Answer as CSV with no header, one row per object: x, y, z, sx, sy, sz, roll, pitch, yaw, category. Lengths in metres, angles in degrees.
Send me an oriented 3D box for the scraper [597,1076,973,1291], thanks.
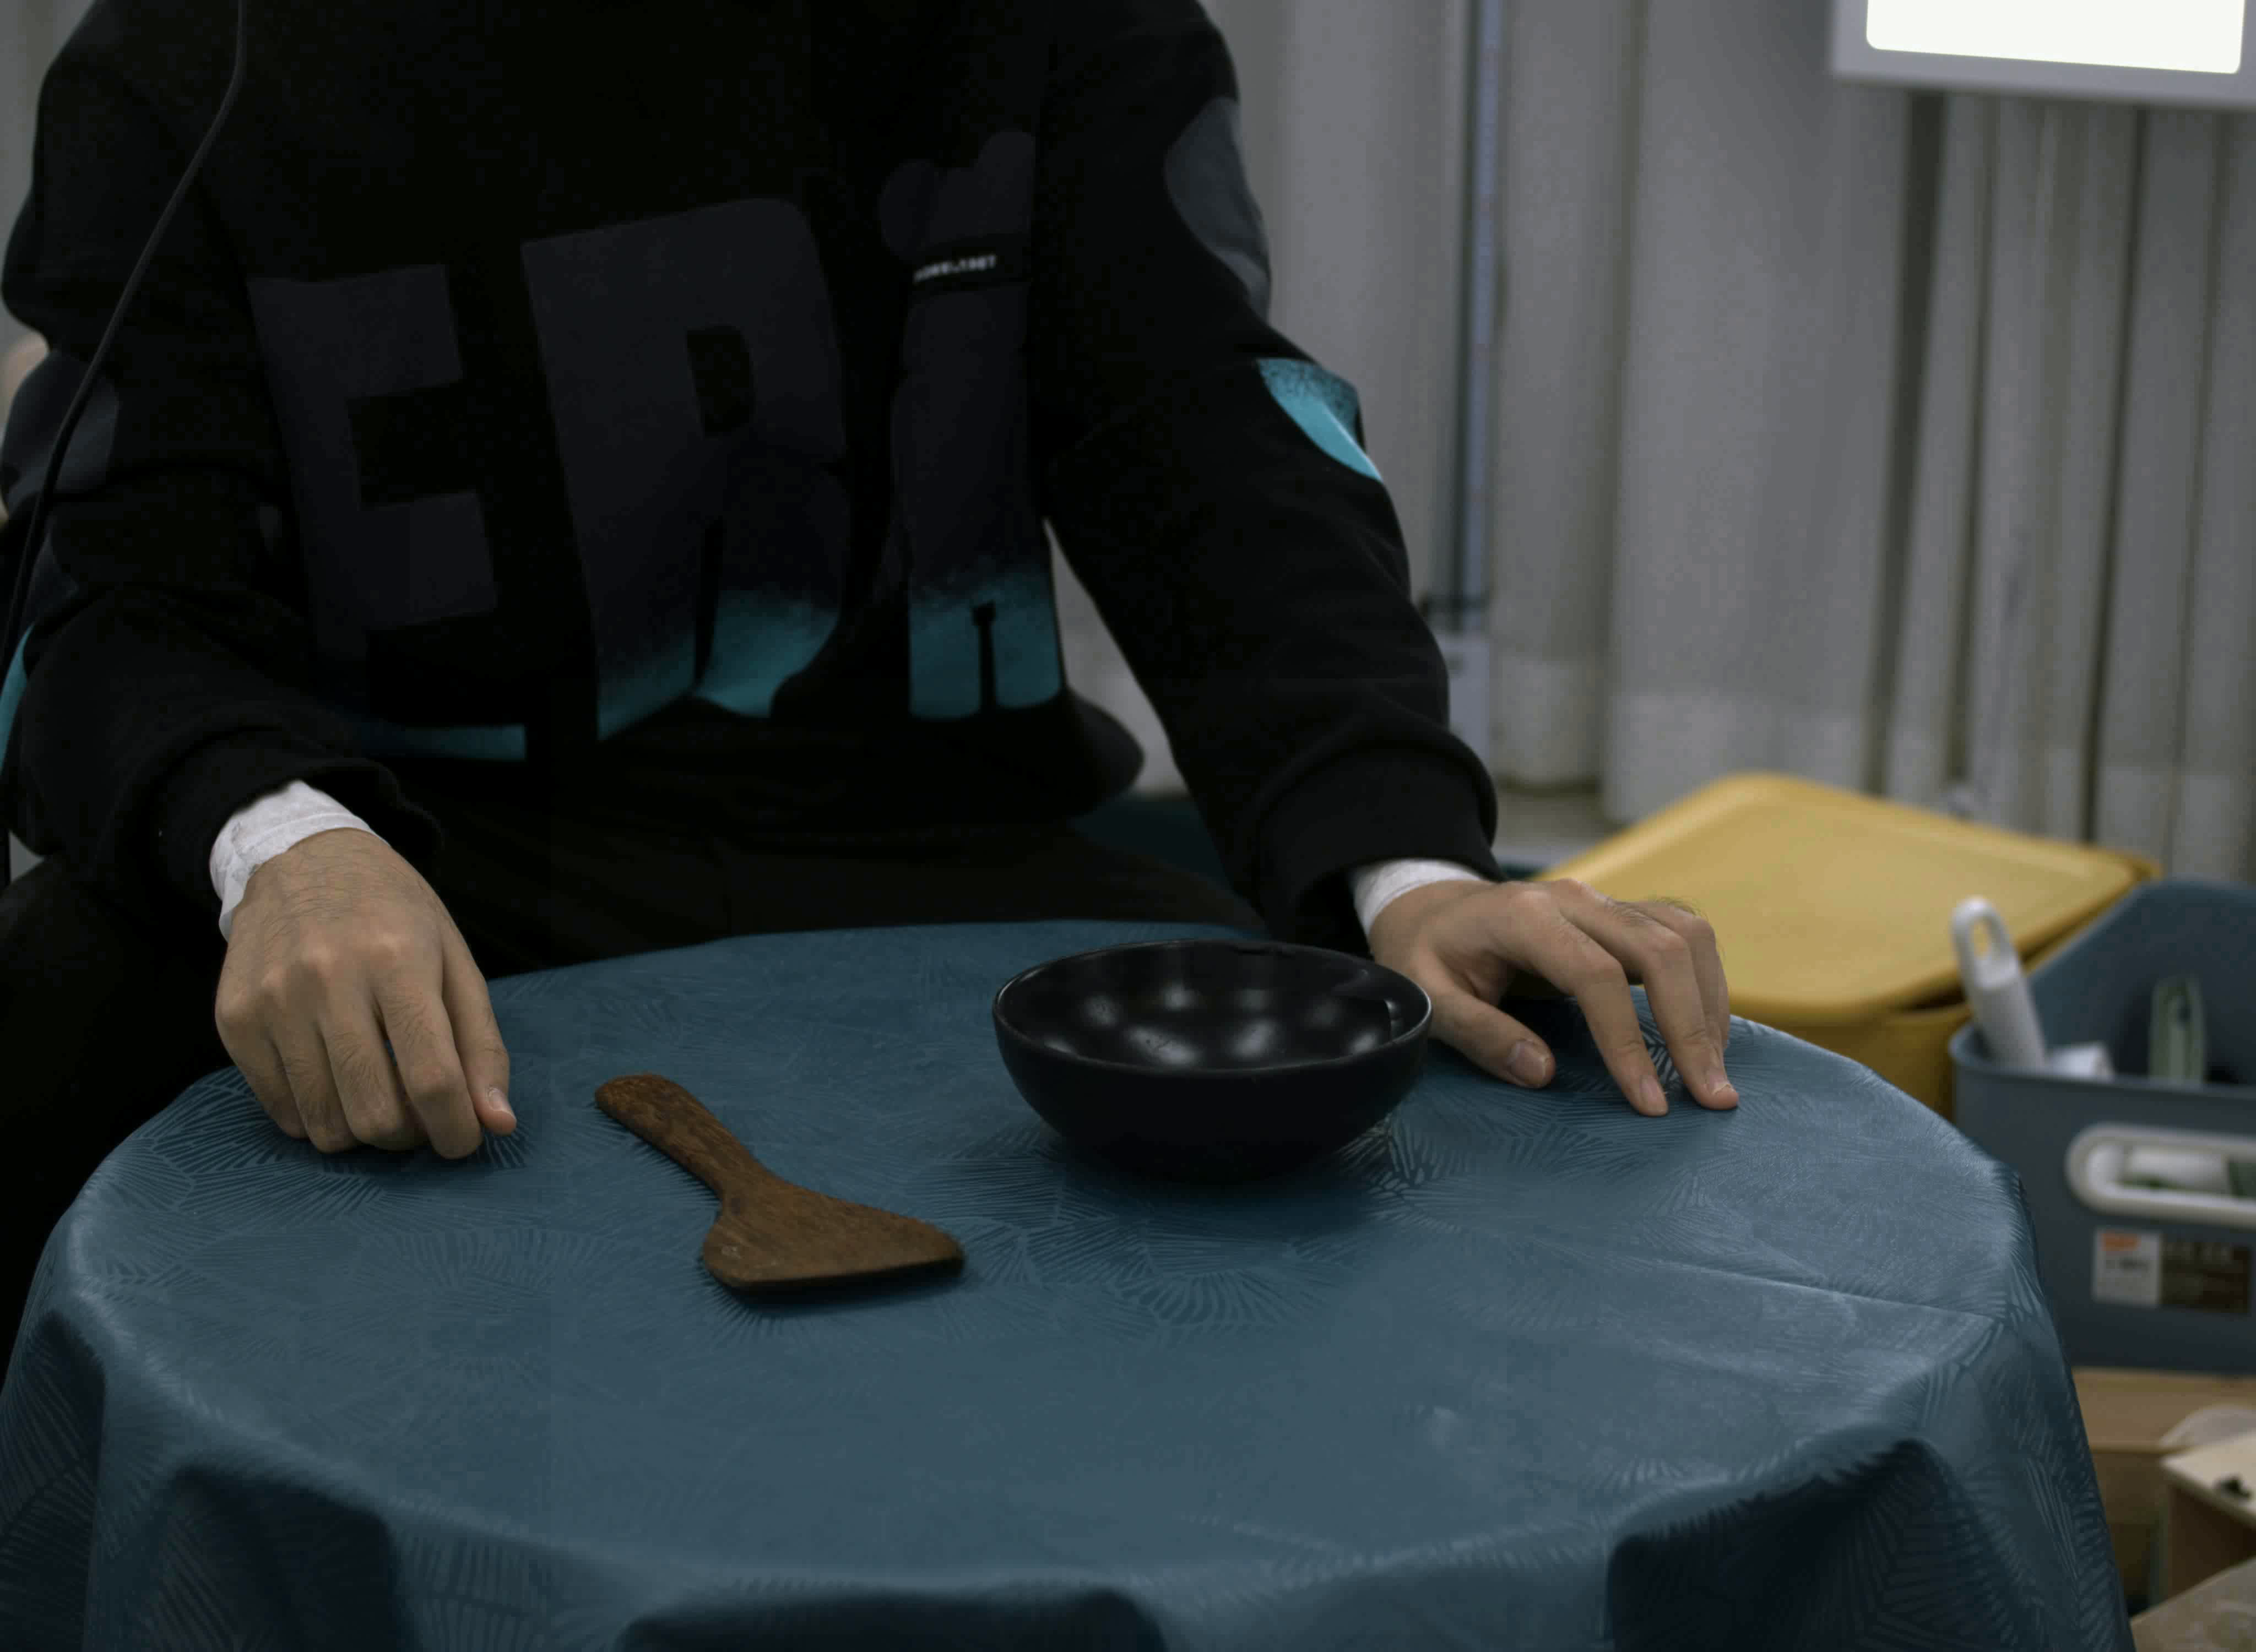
-0.118,0.109,1.620,0.076,0.011,0.209,-5,16,-24,scraper

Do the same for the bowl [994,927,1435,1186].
0.028,0.078,1.659,0.139,0.050,0.139,-1,19,1,bowl
